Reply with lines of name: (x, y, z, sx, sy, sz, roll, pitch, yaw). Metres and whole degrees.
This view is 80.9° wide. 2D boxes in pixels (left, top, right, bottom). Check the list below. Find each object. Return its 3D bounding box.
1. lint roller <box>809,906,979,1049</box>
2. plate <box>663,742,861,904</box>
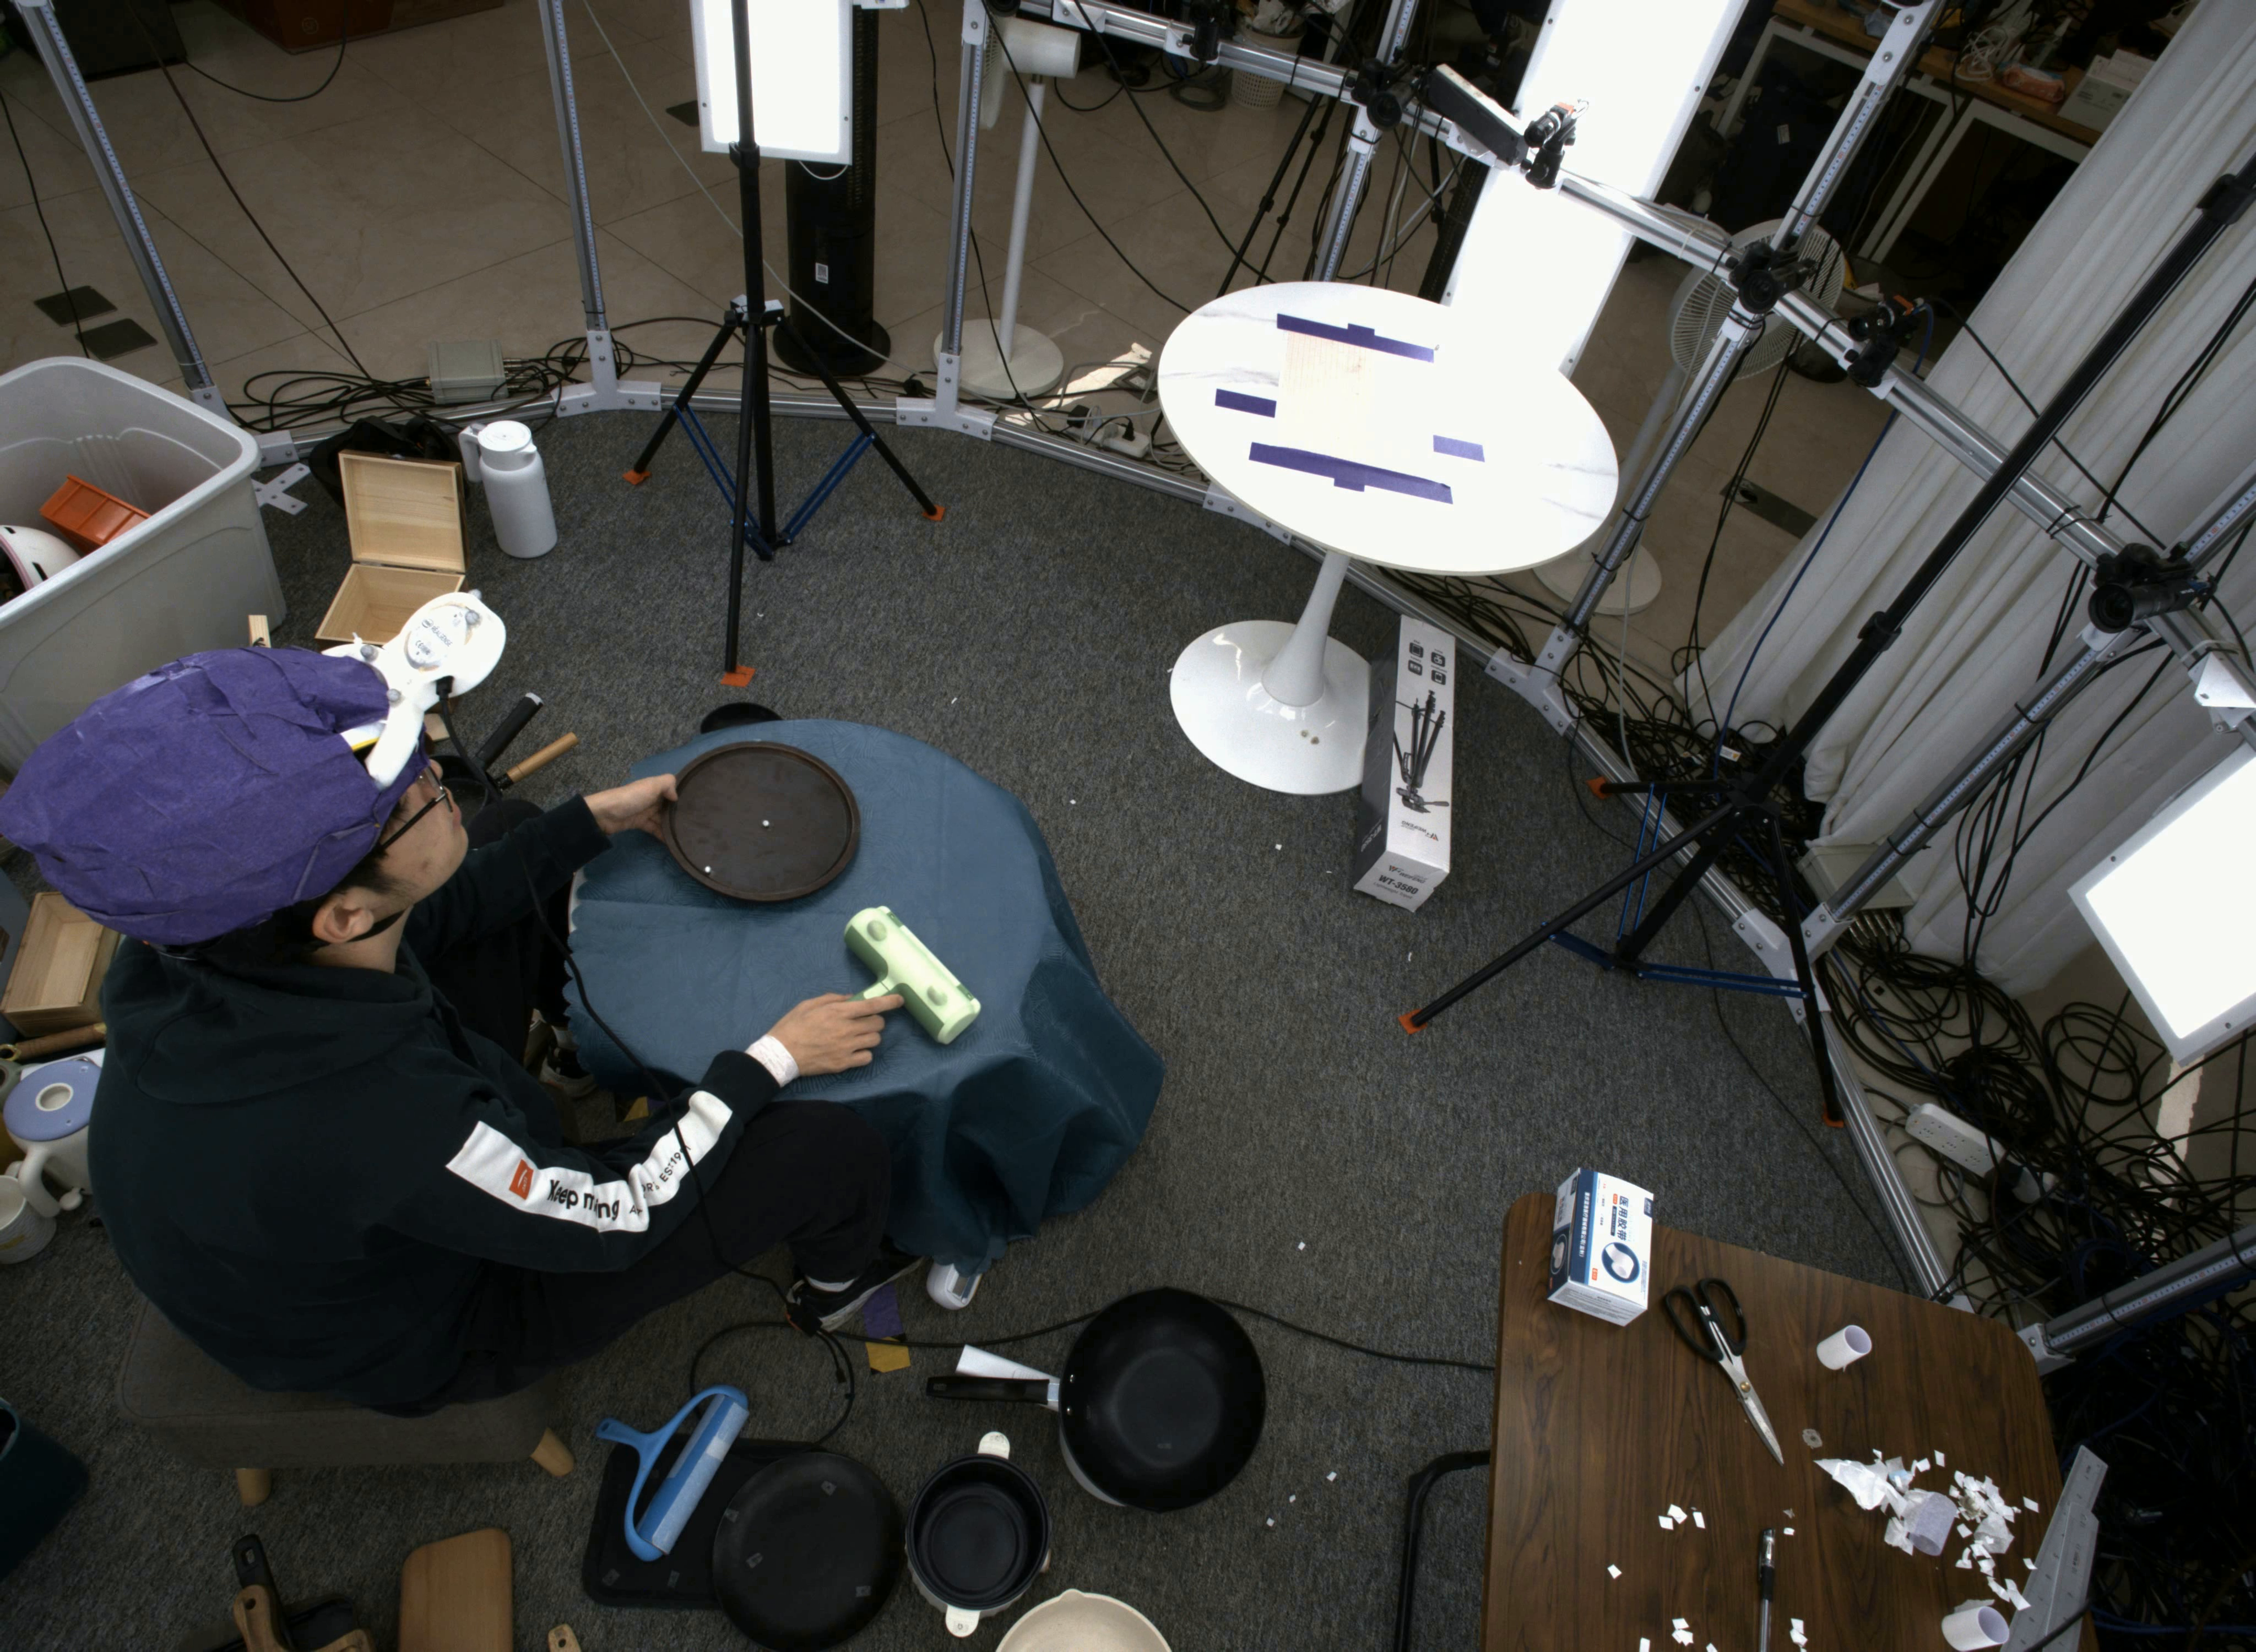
lint roller: (-0.306, 0.197, 1.561, 0.194, 0.083, 0.184, 43, 50, 18)
plate: (-0.477, -0.007, 1.690, 0.256, 0.029, 0.250, 13, 52, -15)
